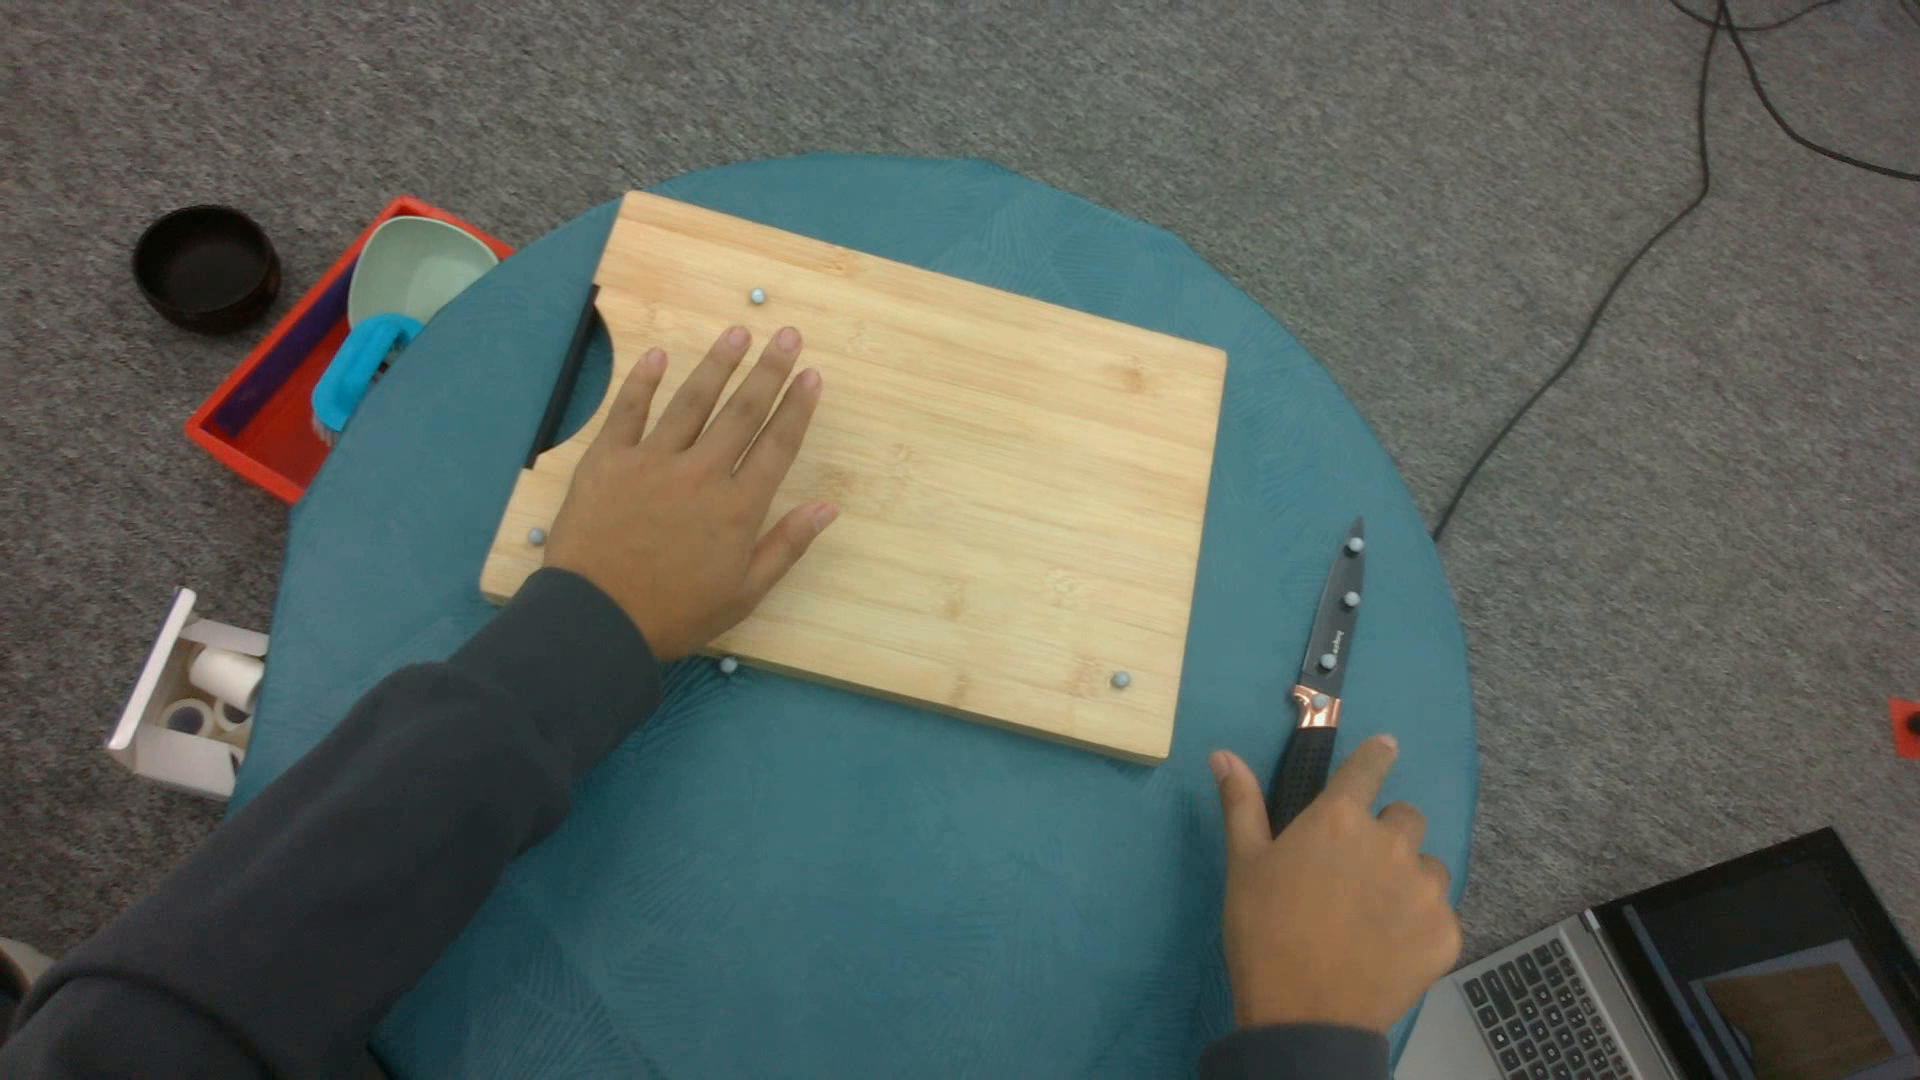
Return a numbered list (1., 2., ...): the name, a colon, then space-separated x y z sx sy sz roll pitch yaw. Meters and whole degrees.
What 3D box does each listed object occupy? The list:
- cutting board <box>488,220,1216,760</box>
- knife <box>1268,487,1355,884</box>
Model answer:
1. cutting board: -0.043 -0.033 0.731 0.349 0.023 0.251 10 65 -3
2. knife: 0.189 0.069 0.721 0.026 0.017 0.226 16 64 4
